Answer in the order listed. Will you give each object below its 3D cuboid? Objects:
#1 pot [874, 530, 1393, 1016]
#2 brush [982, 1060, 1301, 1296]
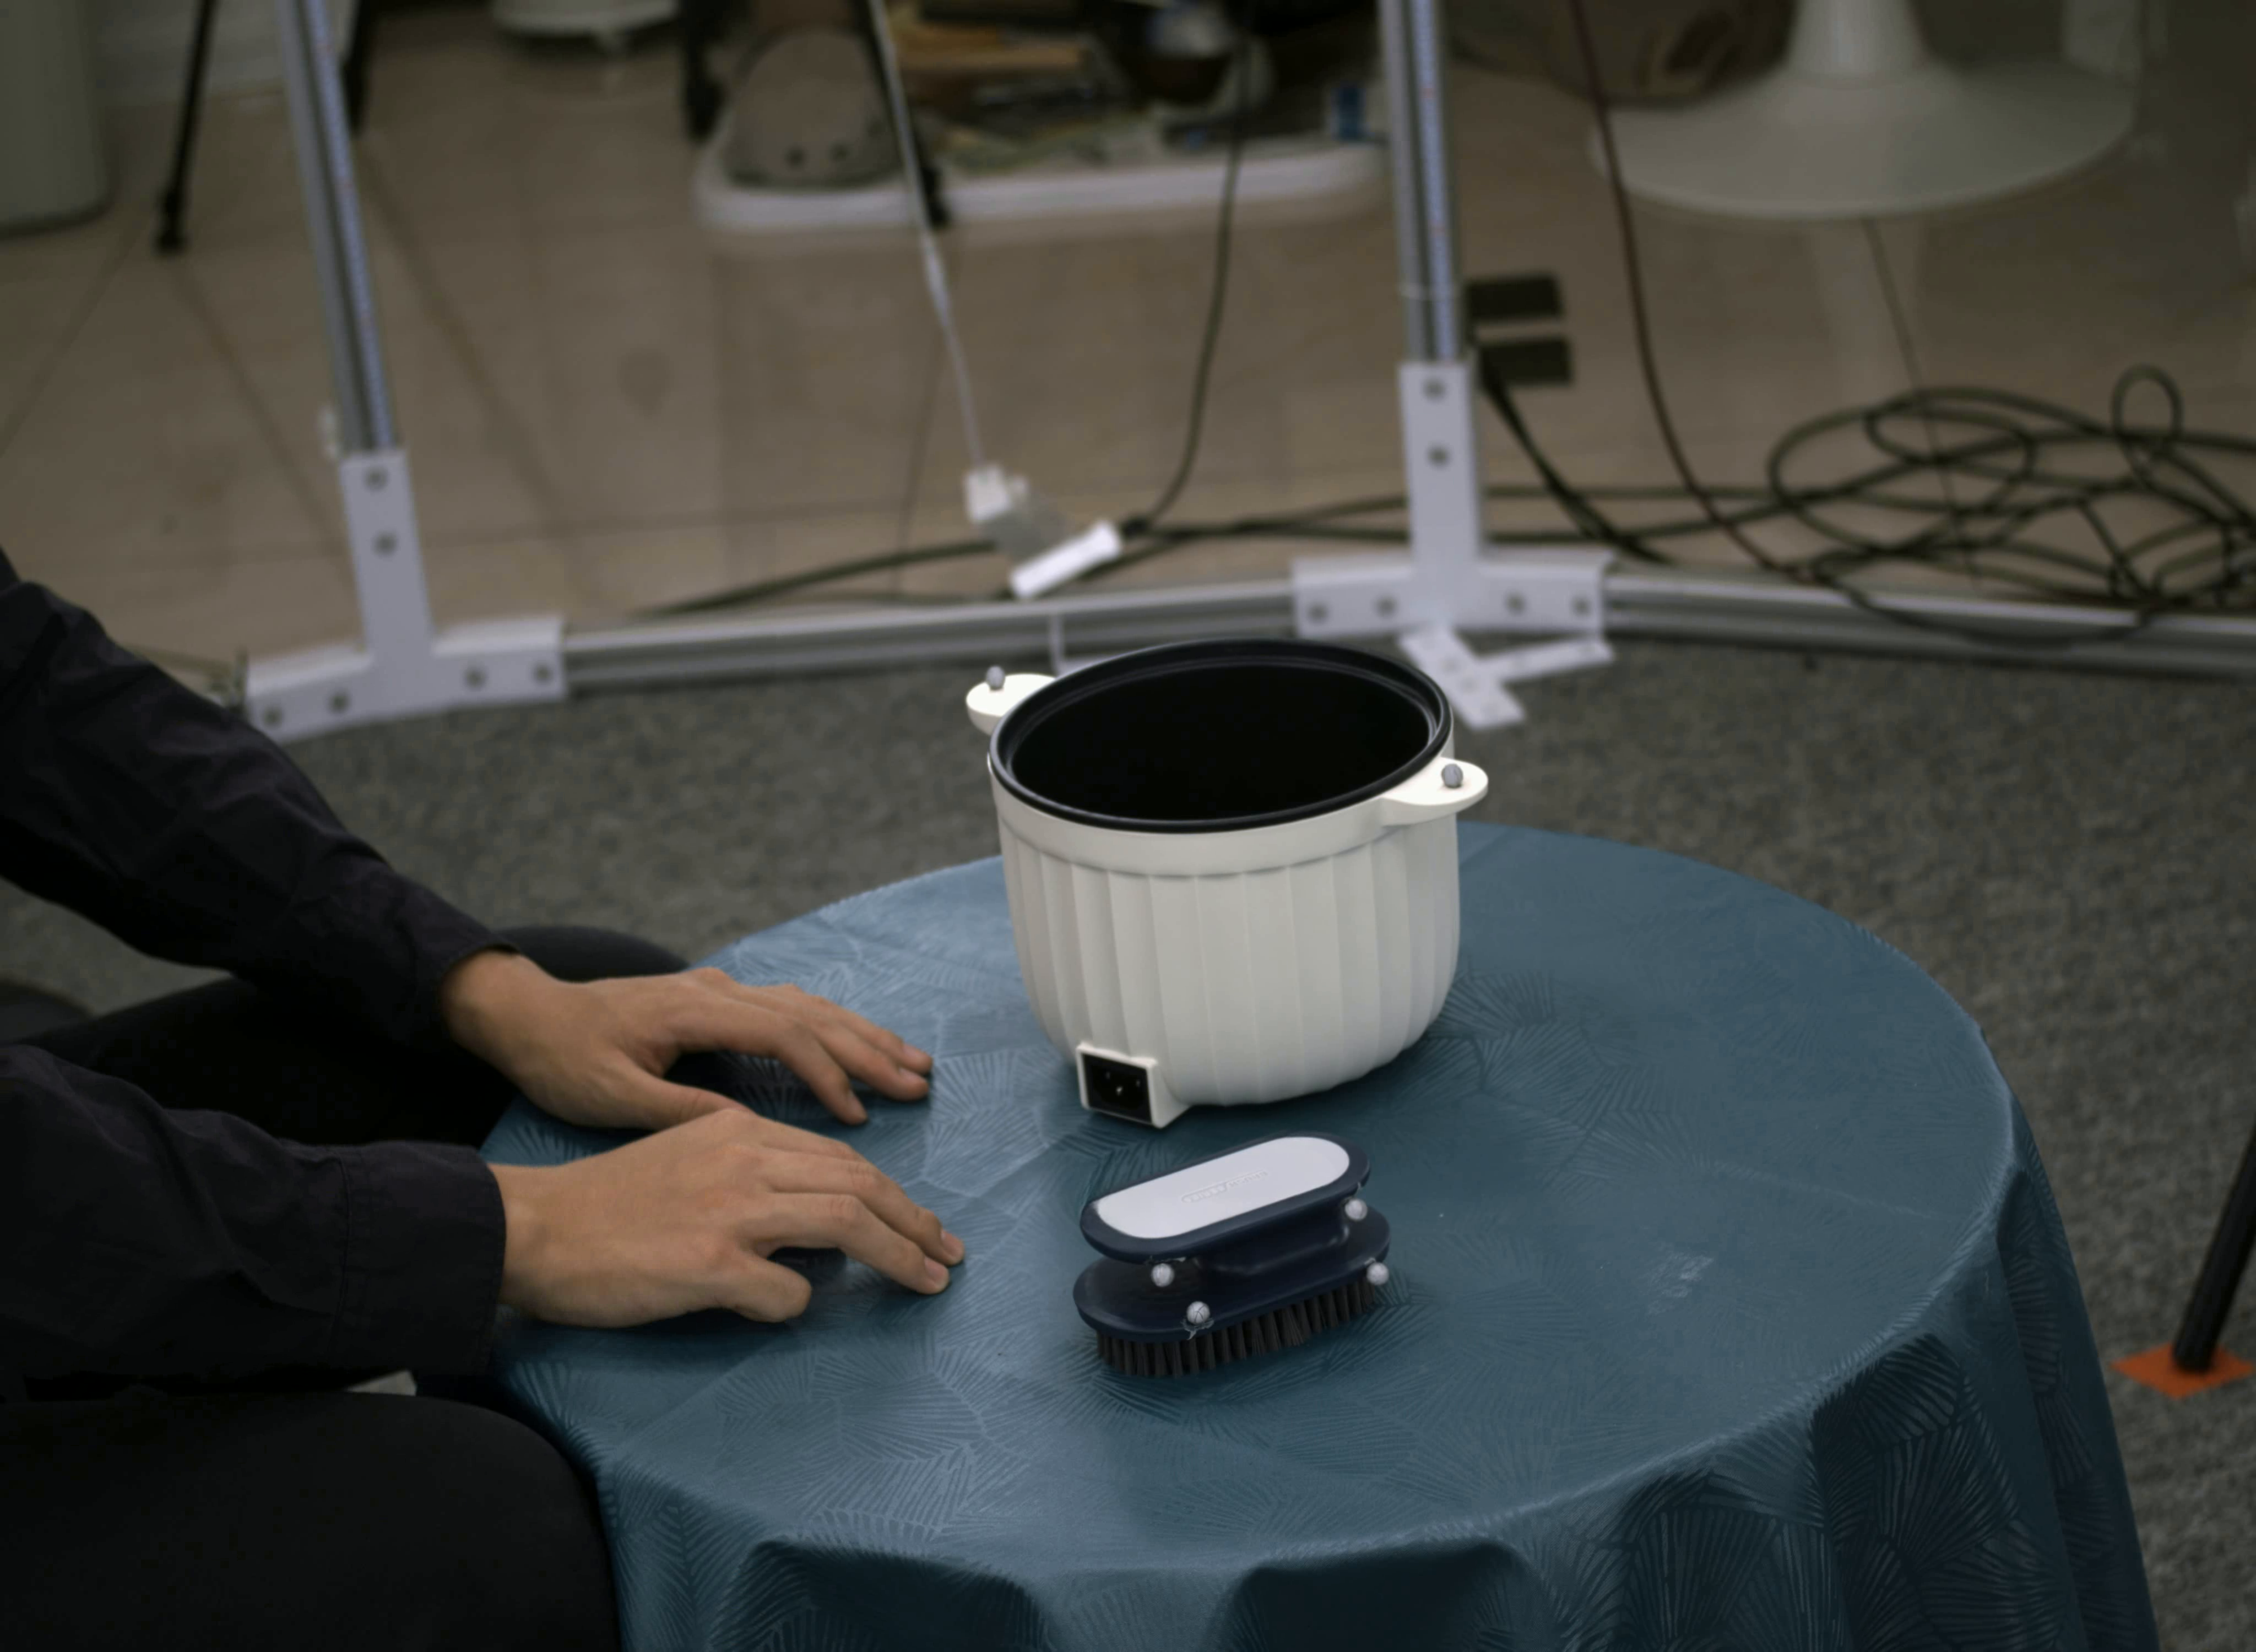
[{"bbox_3d":[0.008,-0.024,2.258,0.239,0.145,0.188,14,35,32],"label":"pot"},{"bbox_3d":[0.005,0.130,2.057,0.121,0.062,0.067,-12,29,-20],"label":"brush"}]
